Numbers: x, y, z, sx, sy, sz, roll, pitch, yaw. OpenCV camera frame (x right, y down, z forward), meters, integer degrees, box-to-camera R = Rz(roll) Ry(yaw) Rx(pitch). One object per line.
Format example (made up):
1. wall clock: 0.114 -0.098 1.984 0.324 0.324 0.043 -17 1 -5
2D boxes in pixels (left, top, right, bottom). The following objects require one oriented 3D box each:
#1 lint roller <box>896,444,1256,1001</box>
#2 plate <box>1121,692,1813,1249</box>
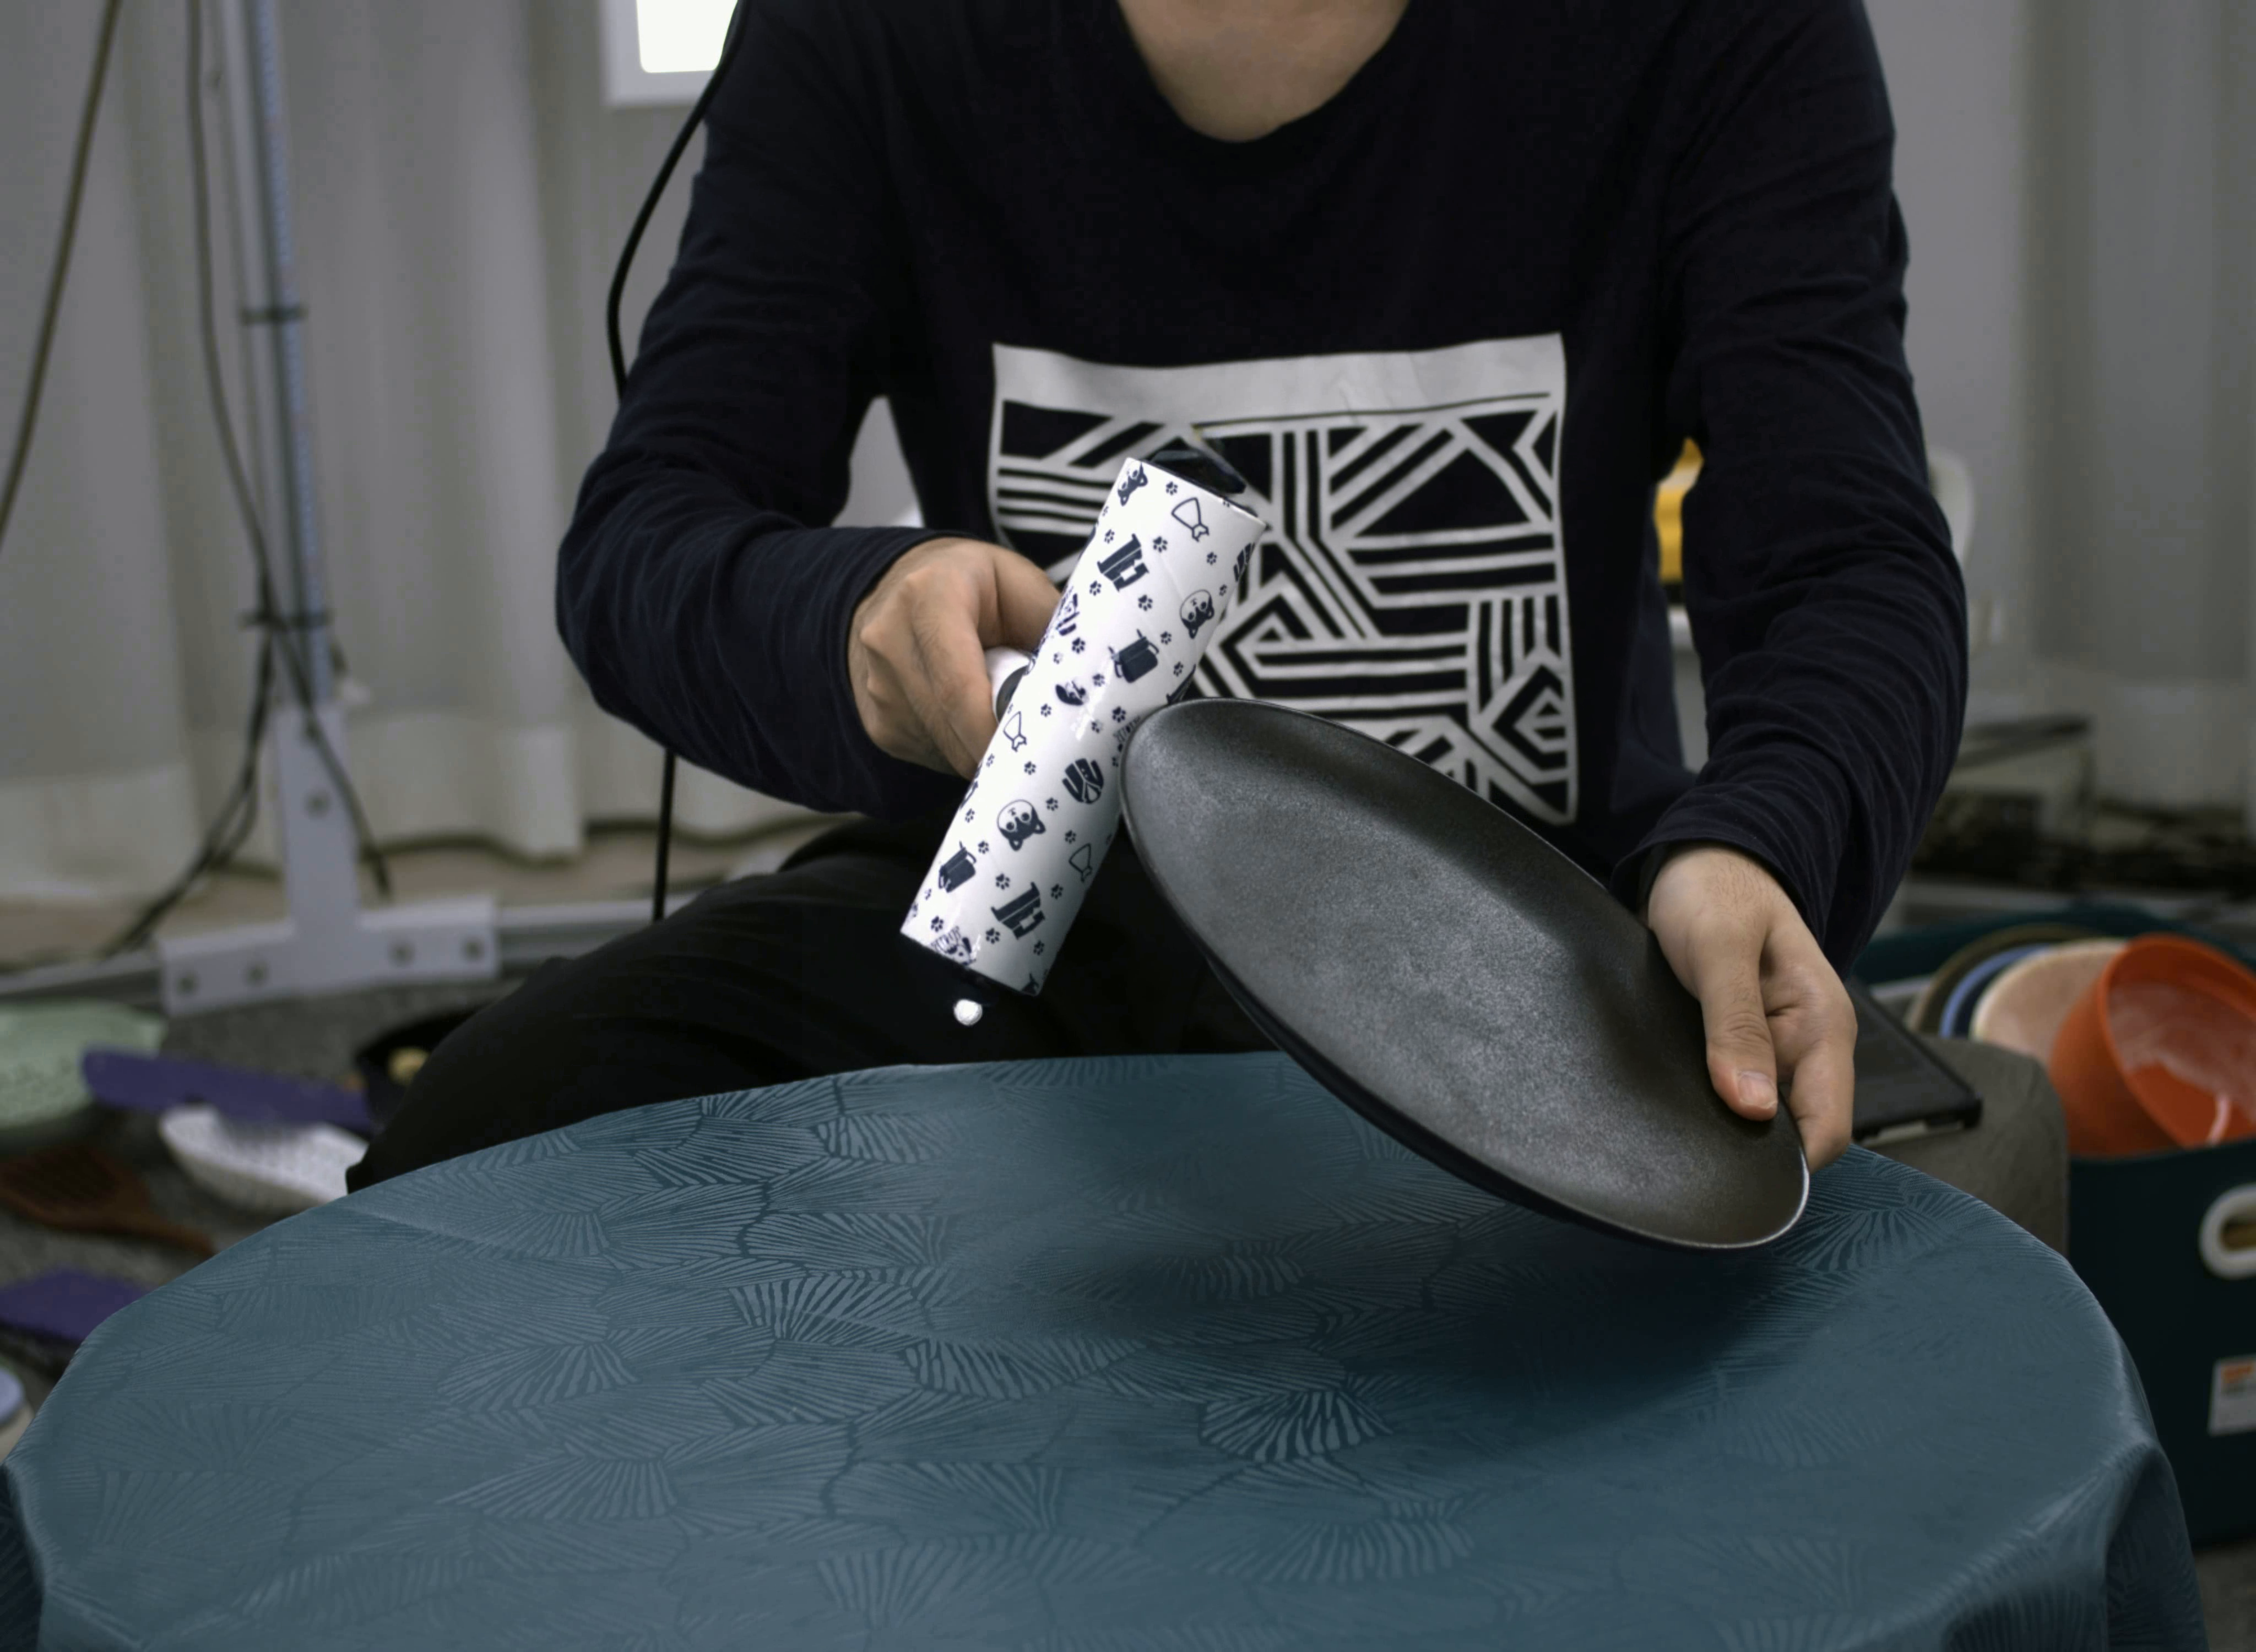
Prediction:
1. lint roller: -0.038 -0.043 1.750 0.050 0.176 0.248 25 0 -15
2. plate: 0.096 0.047 1.612 0.243 0.023 0.247 29 23 -14
